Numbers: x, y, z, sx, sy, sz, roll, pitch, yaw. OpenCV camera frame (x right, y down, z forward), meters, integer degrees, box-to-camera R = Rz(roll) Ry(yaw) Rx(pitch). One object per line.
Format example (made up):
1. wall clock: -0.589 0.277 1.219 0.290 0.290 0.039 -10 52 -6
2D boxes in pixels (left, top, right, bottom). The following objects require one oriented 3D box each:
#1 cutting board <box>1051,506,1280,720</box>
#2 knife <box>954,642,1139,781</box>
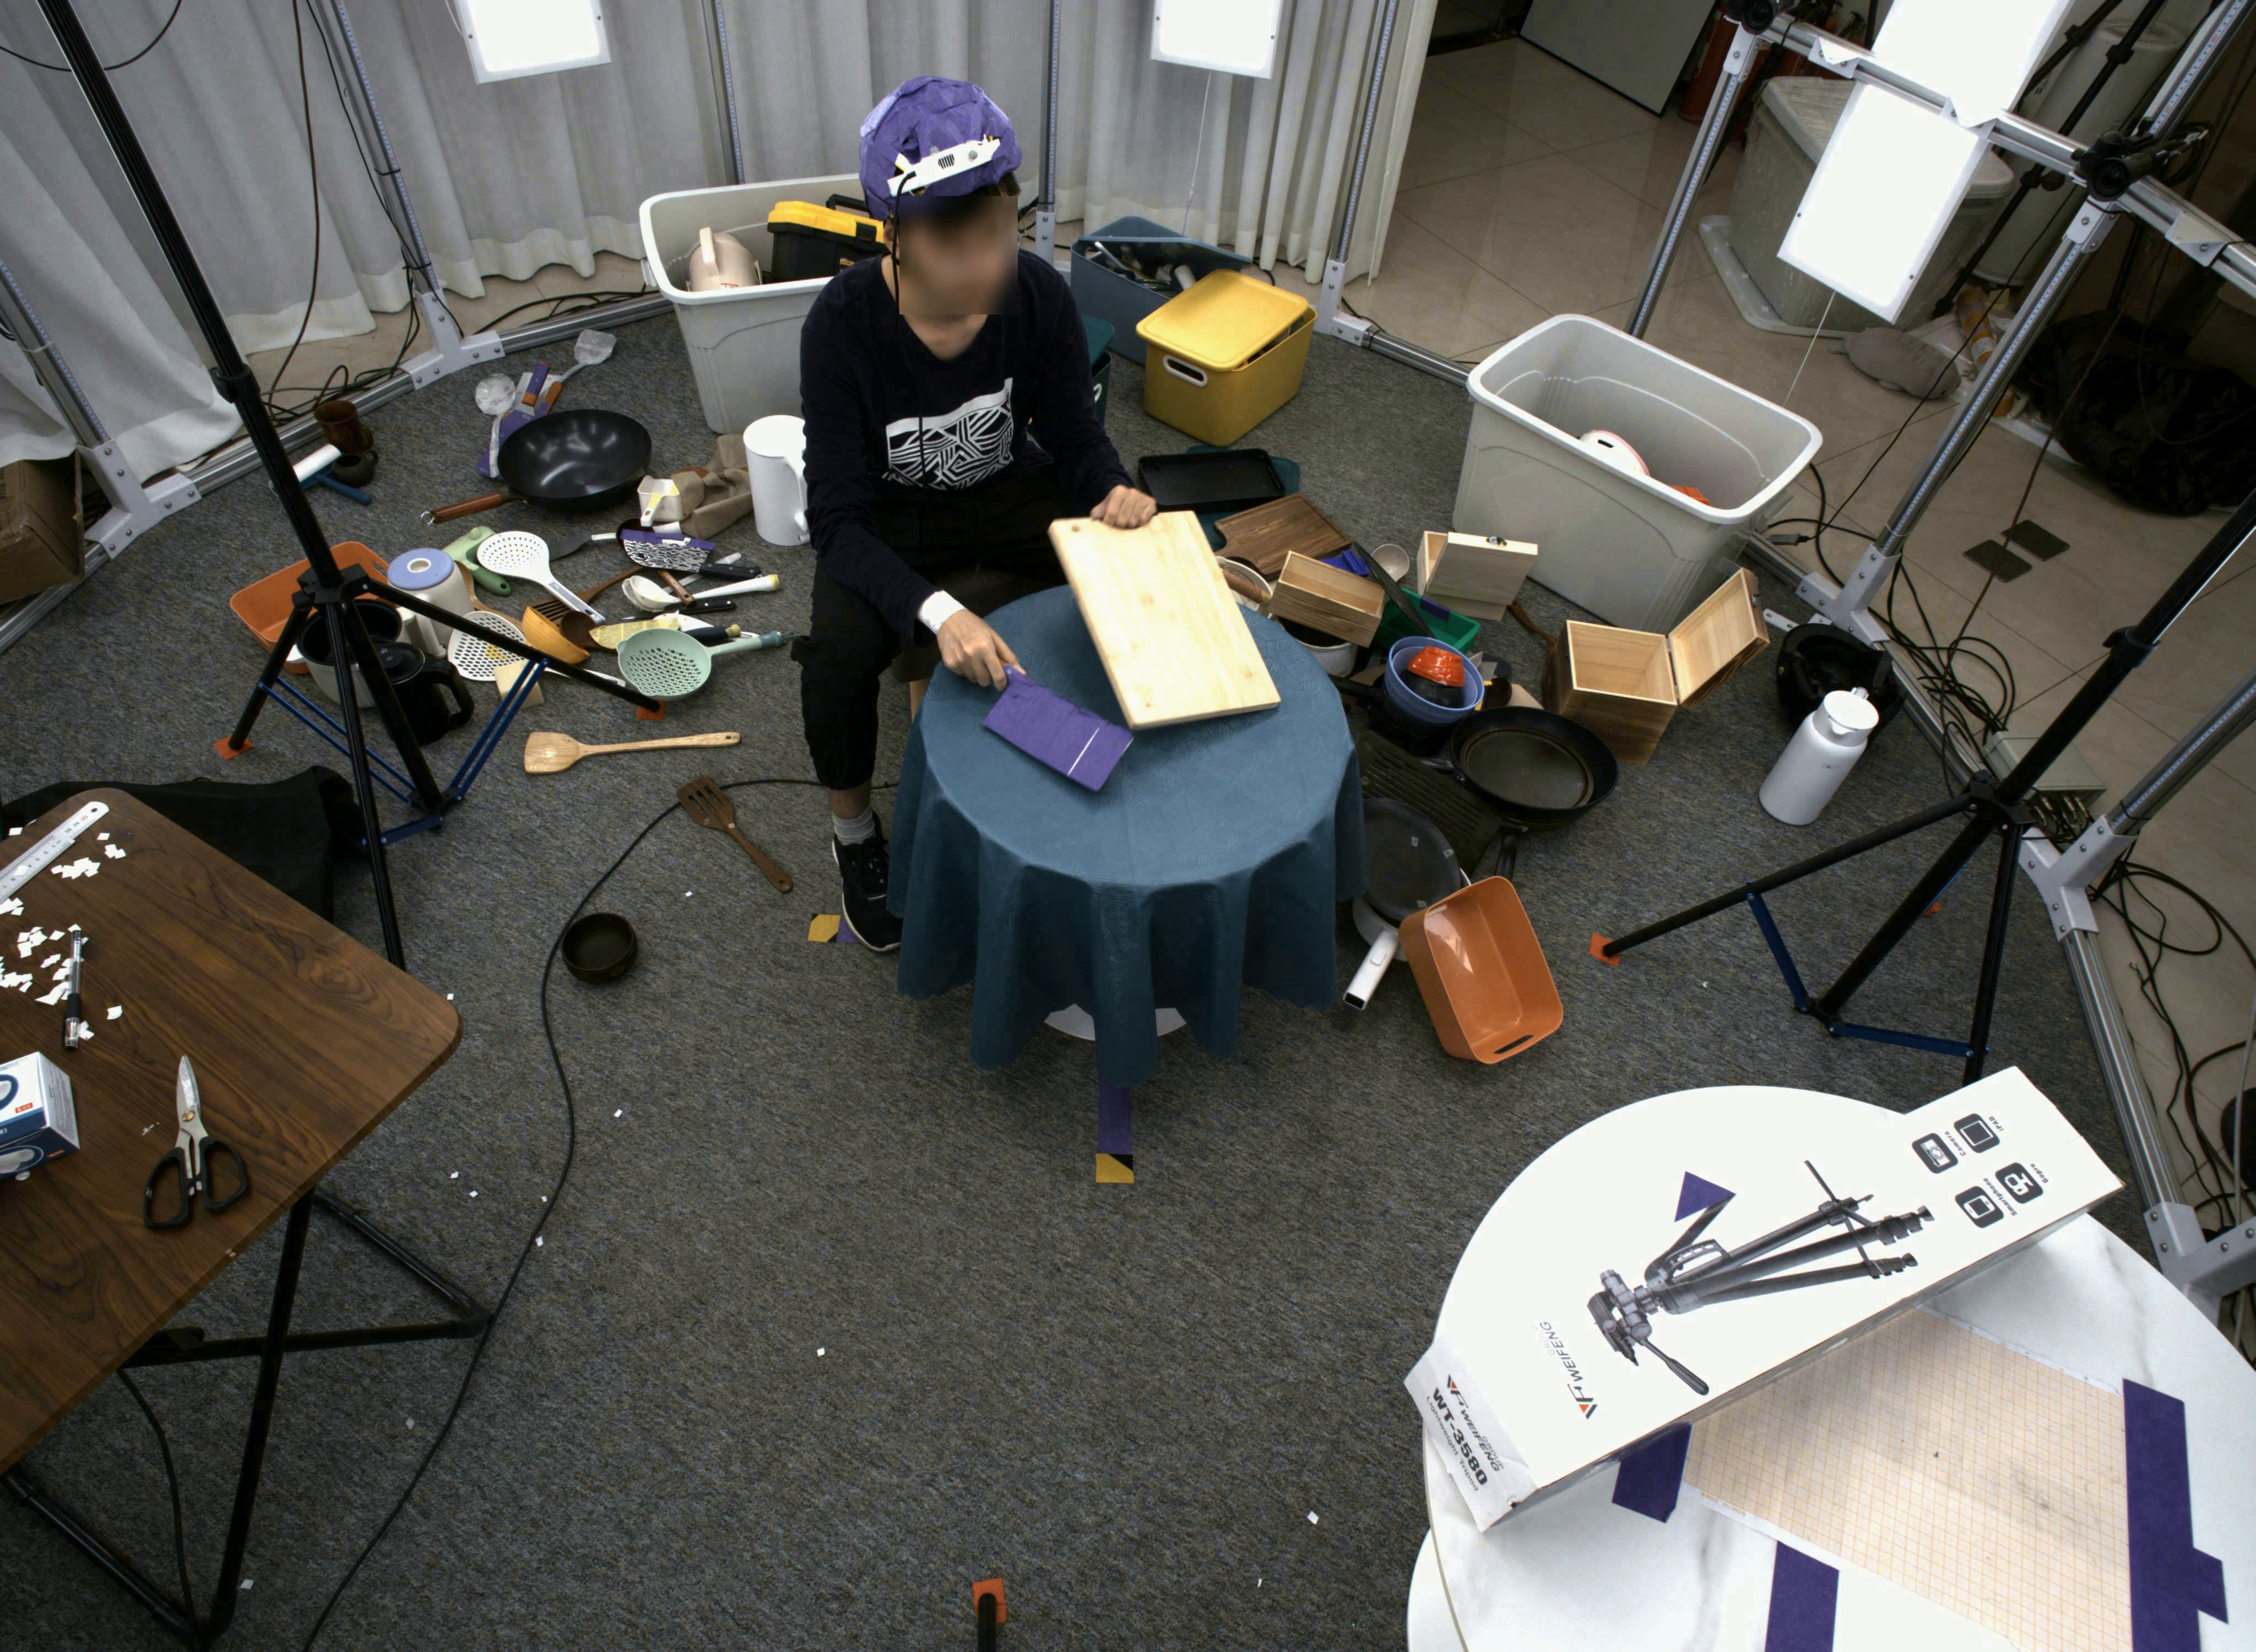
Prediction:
1. cutting board: 0.052 -0.310 1.834 0.250 0.023 0.355 -10 66 -28
2. knife: -0.134 -0.158 1.745 0.319 0.031 0.104 29 77 29
